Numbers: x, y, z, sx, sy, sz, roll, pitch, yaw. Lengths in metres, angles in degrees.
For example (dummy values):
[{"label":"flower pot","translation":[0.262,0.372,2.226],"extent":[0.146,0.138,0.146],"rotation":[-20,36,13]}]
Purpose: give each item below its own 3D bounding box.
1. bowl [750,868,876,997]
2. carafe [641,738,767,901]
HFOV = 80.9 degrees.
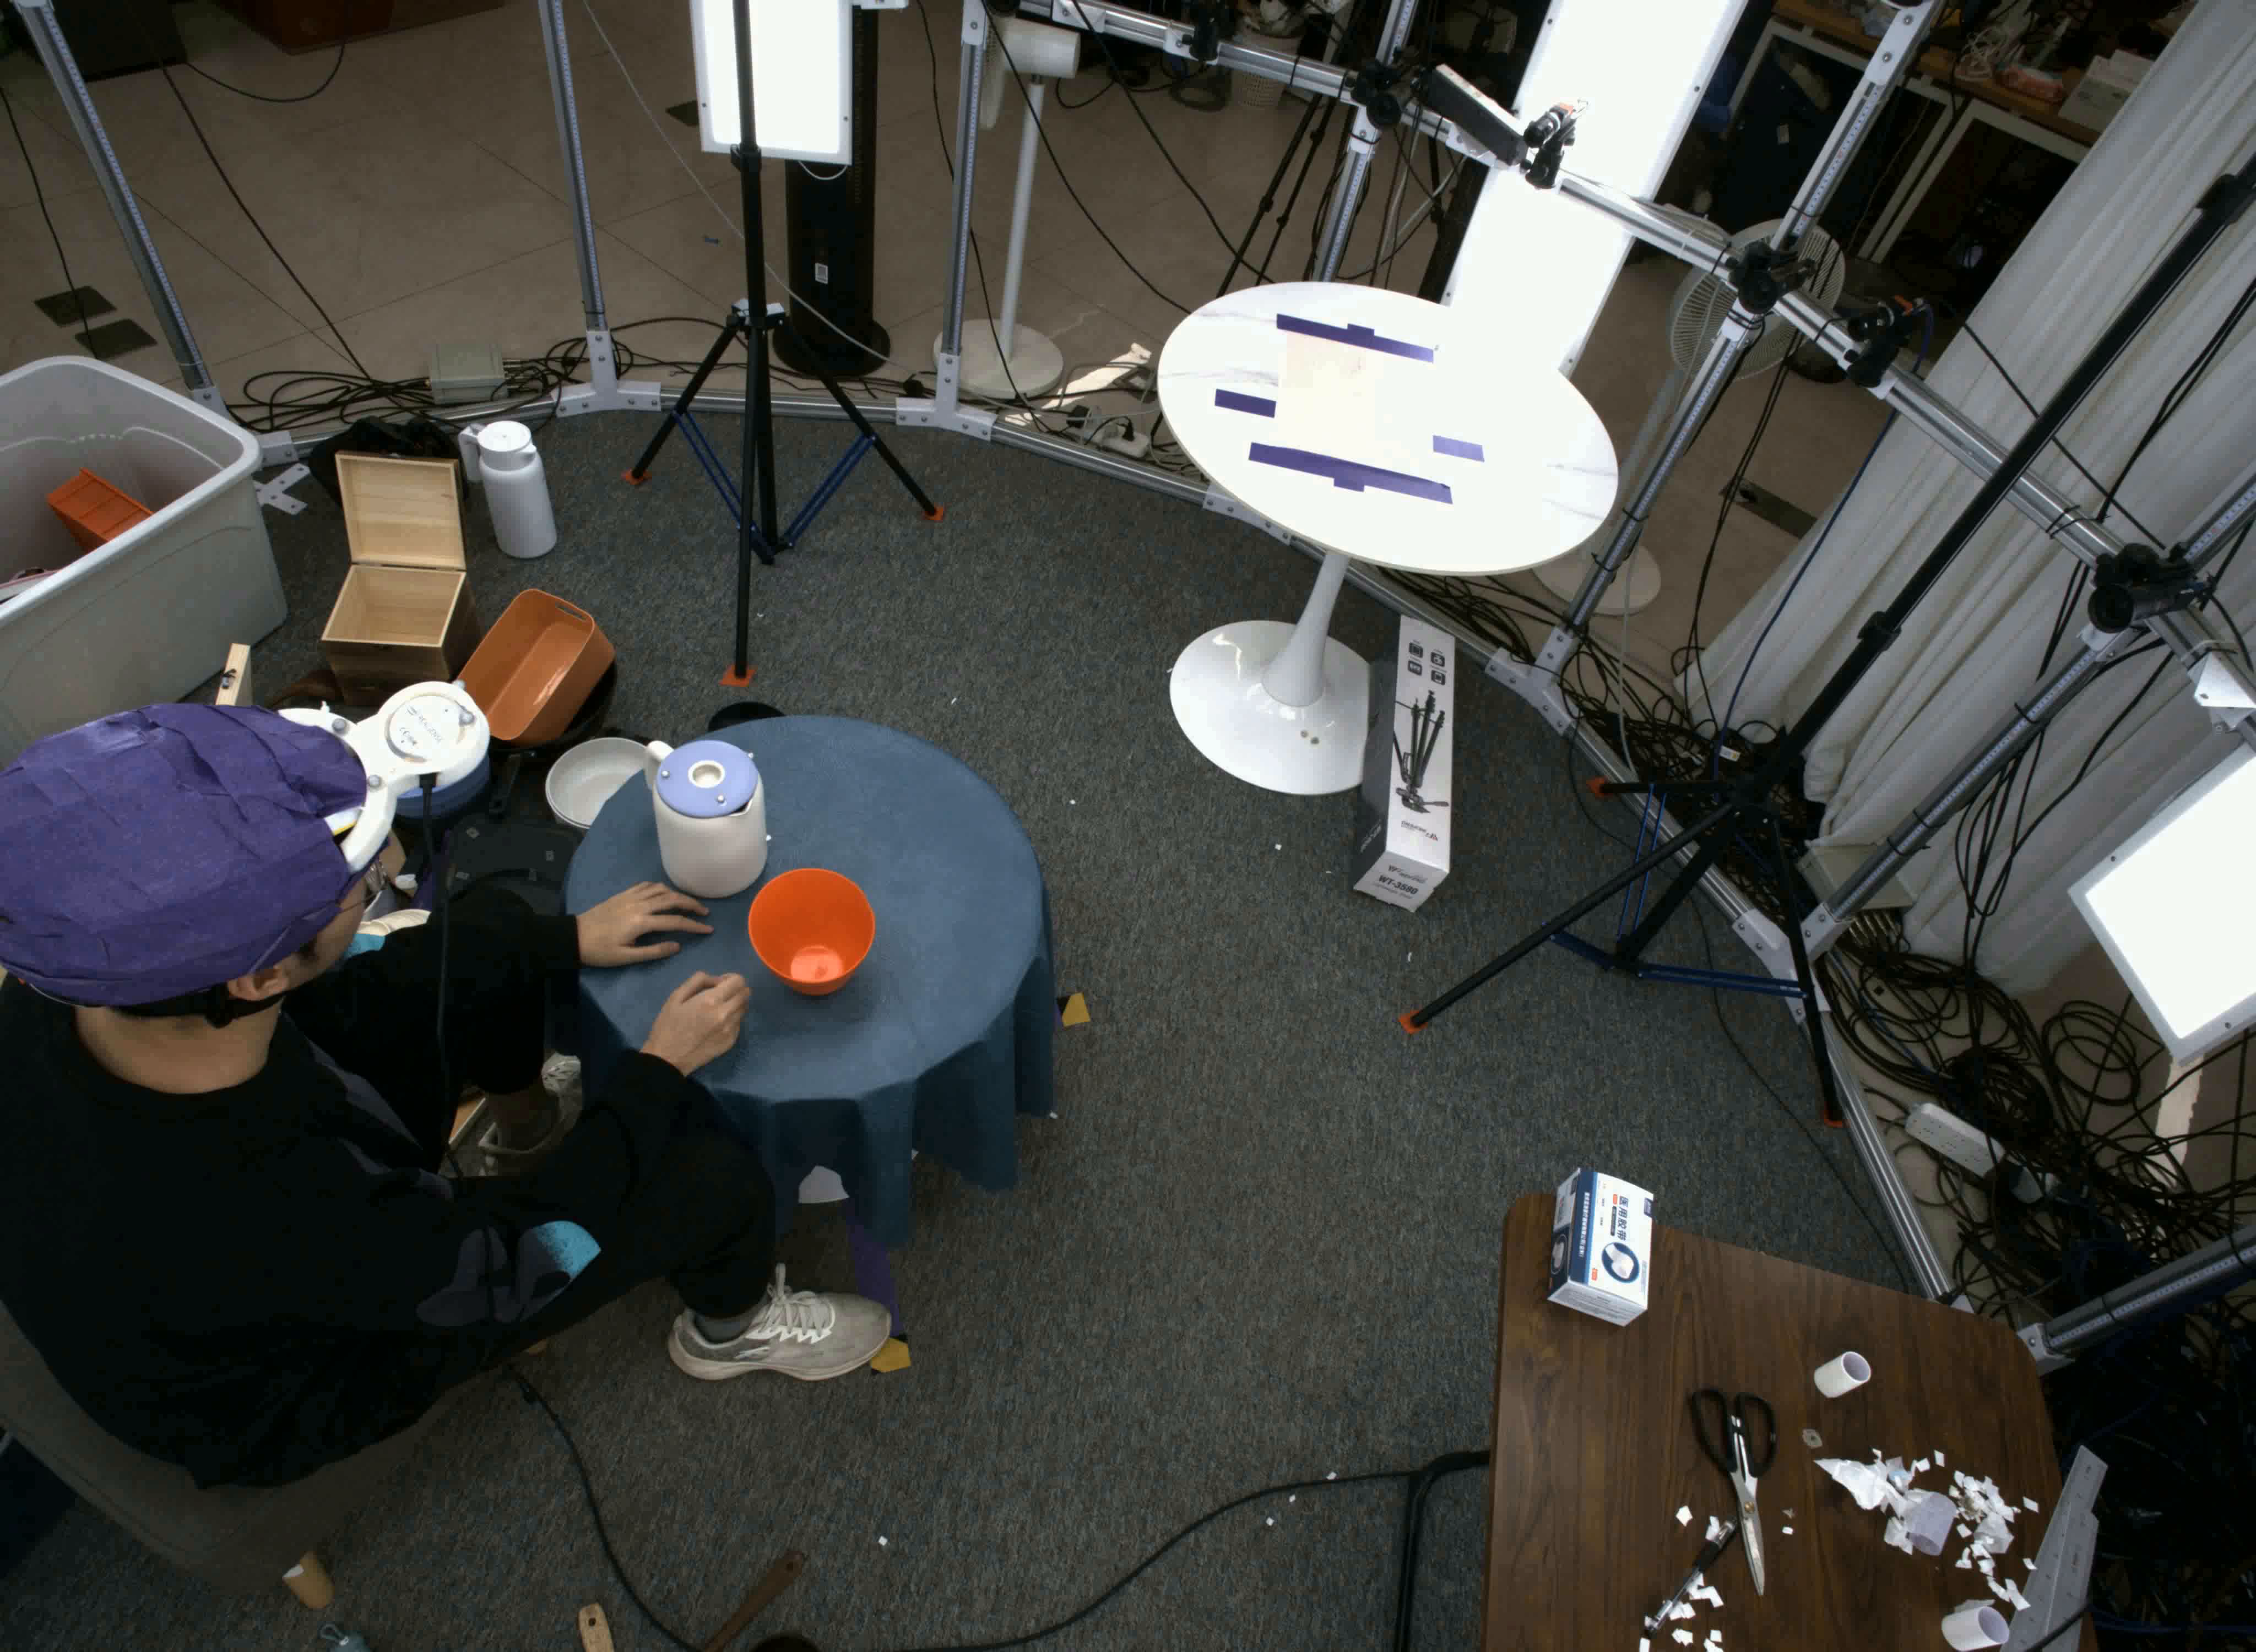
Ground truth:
[{"label":"bowl","translation":[-0.380,0.140,1.574],"extent":[0.148,0.107,0.145],"rotation":[8,52,-8]},{"label":"carafe","translation":[-0.538,-0.022,1.606],"extent":[0.187,0.187,0.132],"rotation":[33,52,16]}]
